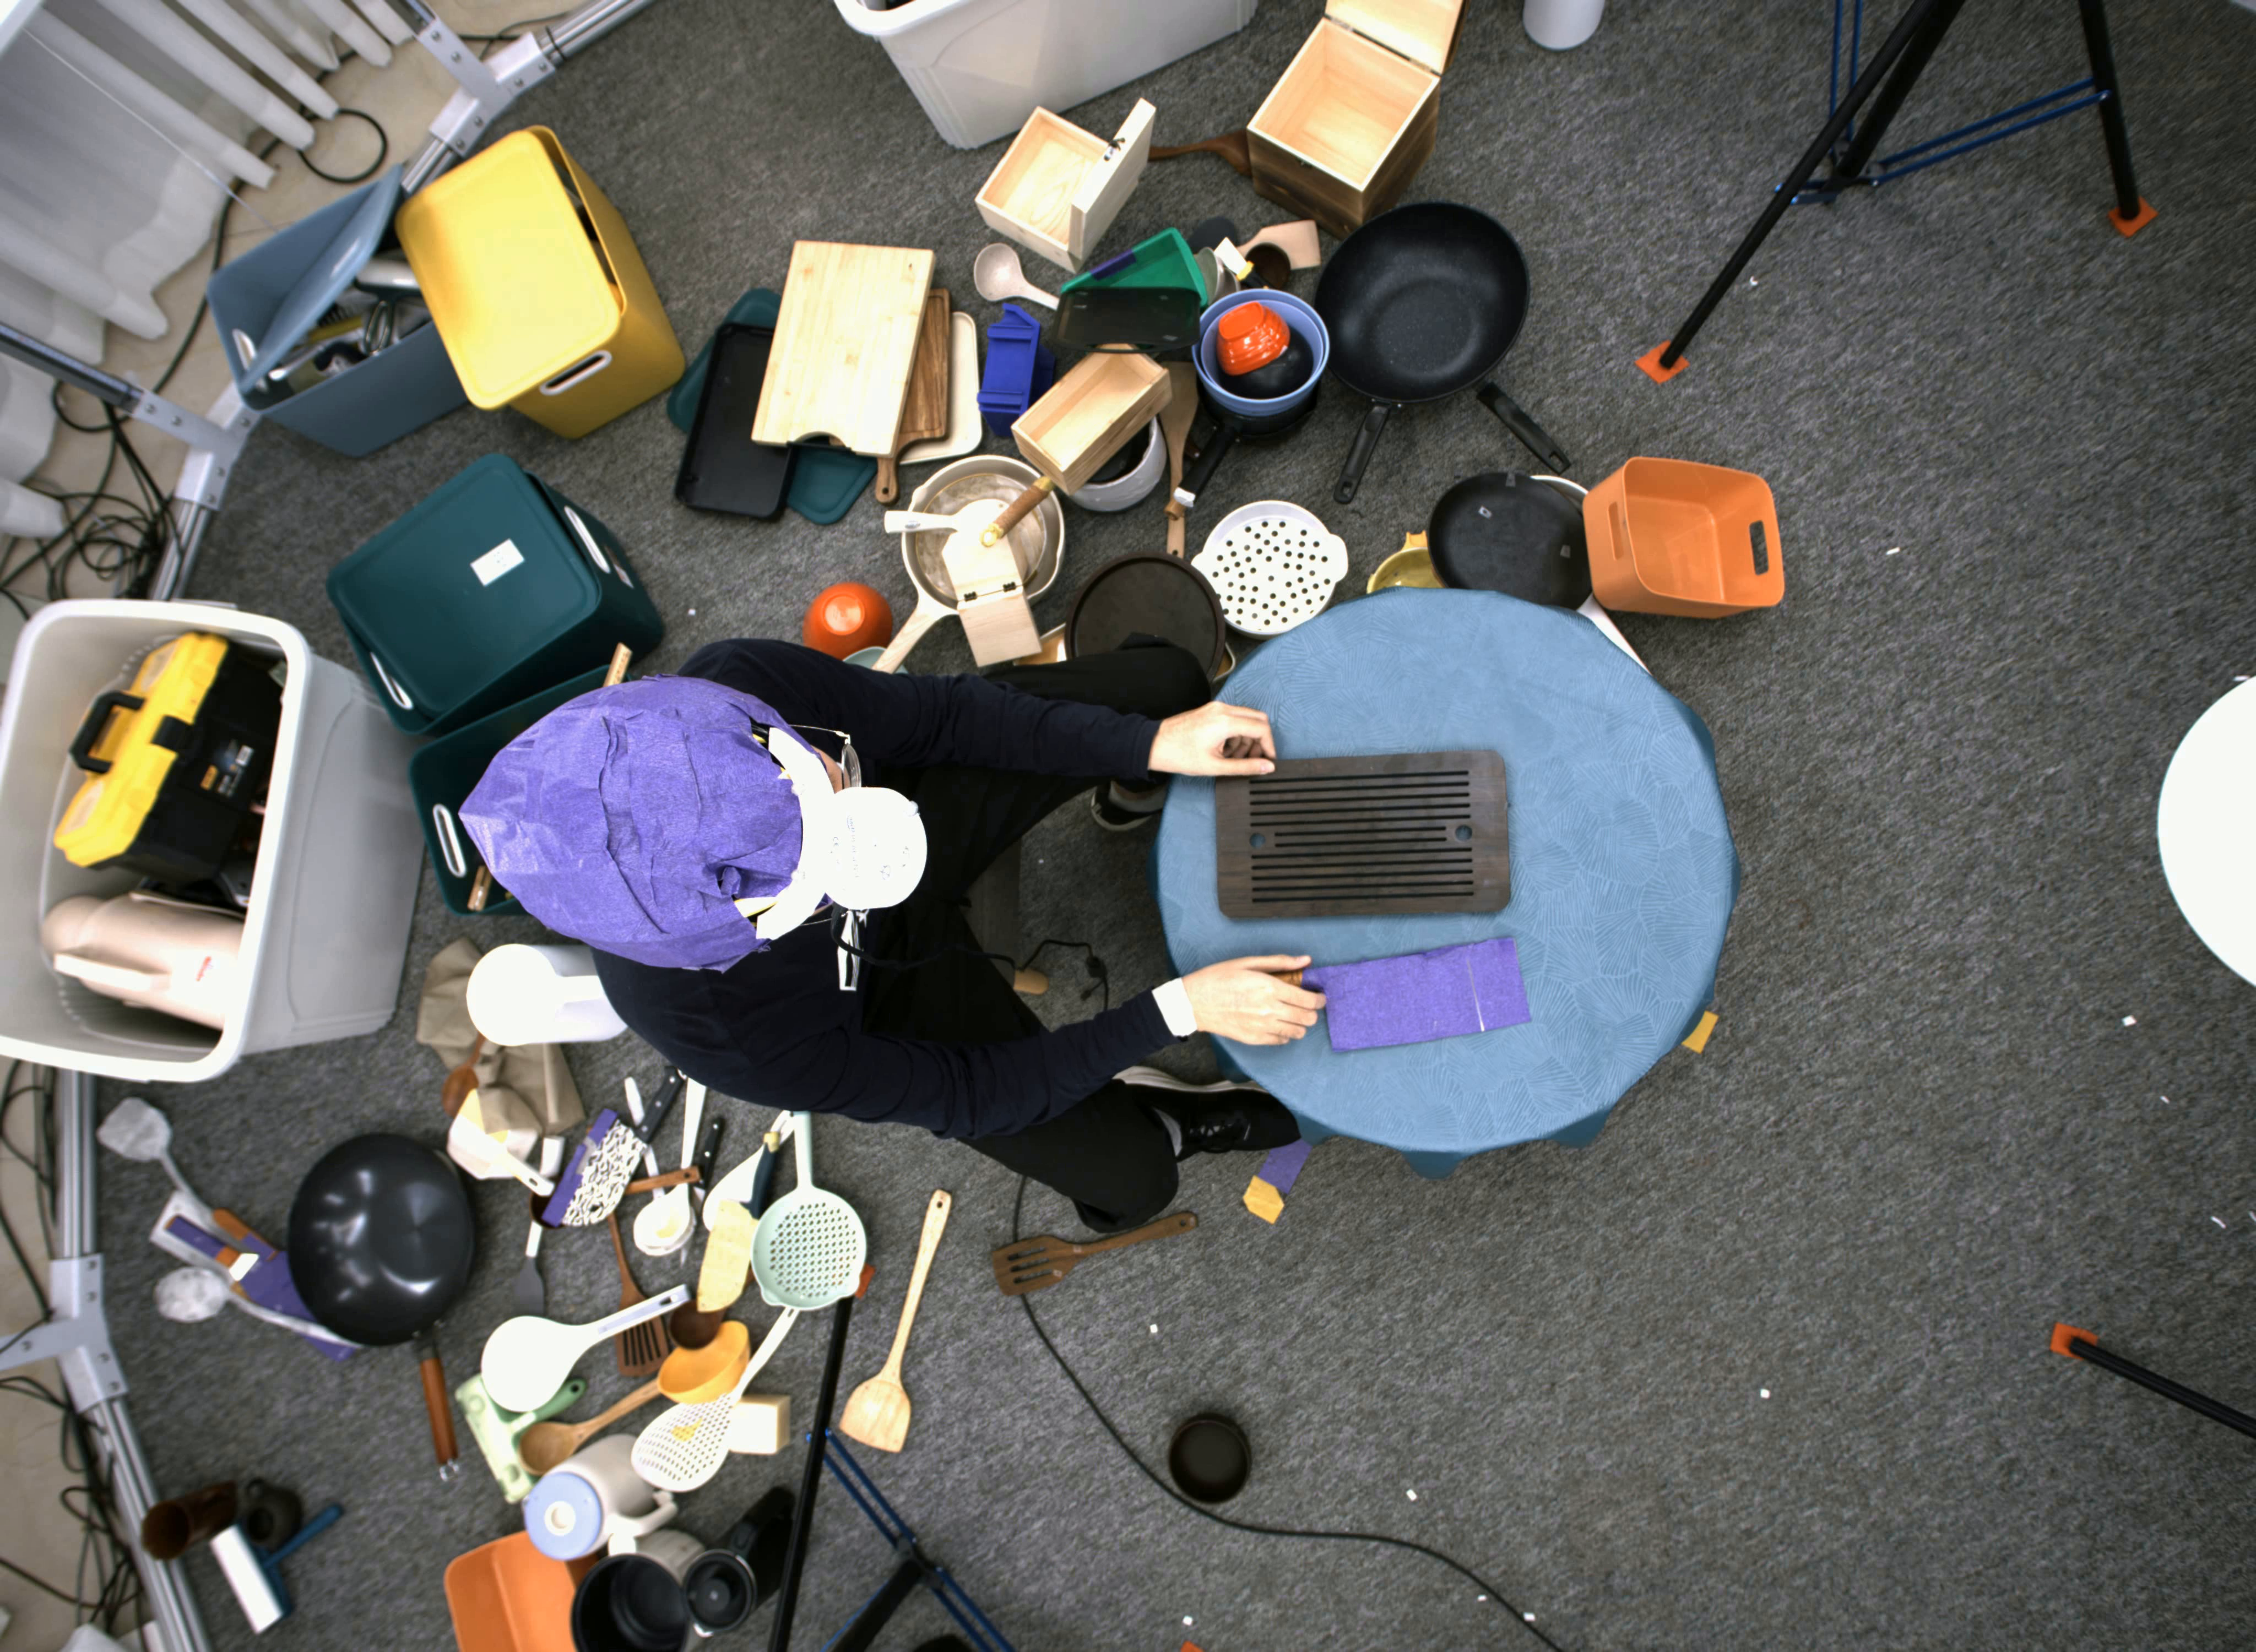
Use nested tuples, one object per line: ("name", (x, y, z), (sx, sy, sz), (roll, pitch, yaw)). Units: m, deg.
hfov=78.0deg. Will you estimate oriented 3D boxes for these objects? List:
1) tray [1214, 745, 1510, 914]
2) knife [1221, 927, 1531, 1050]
("tray", (0.245, 0.004, 1.459), (0.307, 0.018, 0.169), (-2, 87, 11))
("knife", (0.258, 0.181, 1.443), (0.317, 0.032, 0.103), (-11, 84, 9))
